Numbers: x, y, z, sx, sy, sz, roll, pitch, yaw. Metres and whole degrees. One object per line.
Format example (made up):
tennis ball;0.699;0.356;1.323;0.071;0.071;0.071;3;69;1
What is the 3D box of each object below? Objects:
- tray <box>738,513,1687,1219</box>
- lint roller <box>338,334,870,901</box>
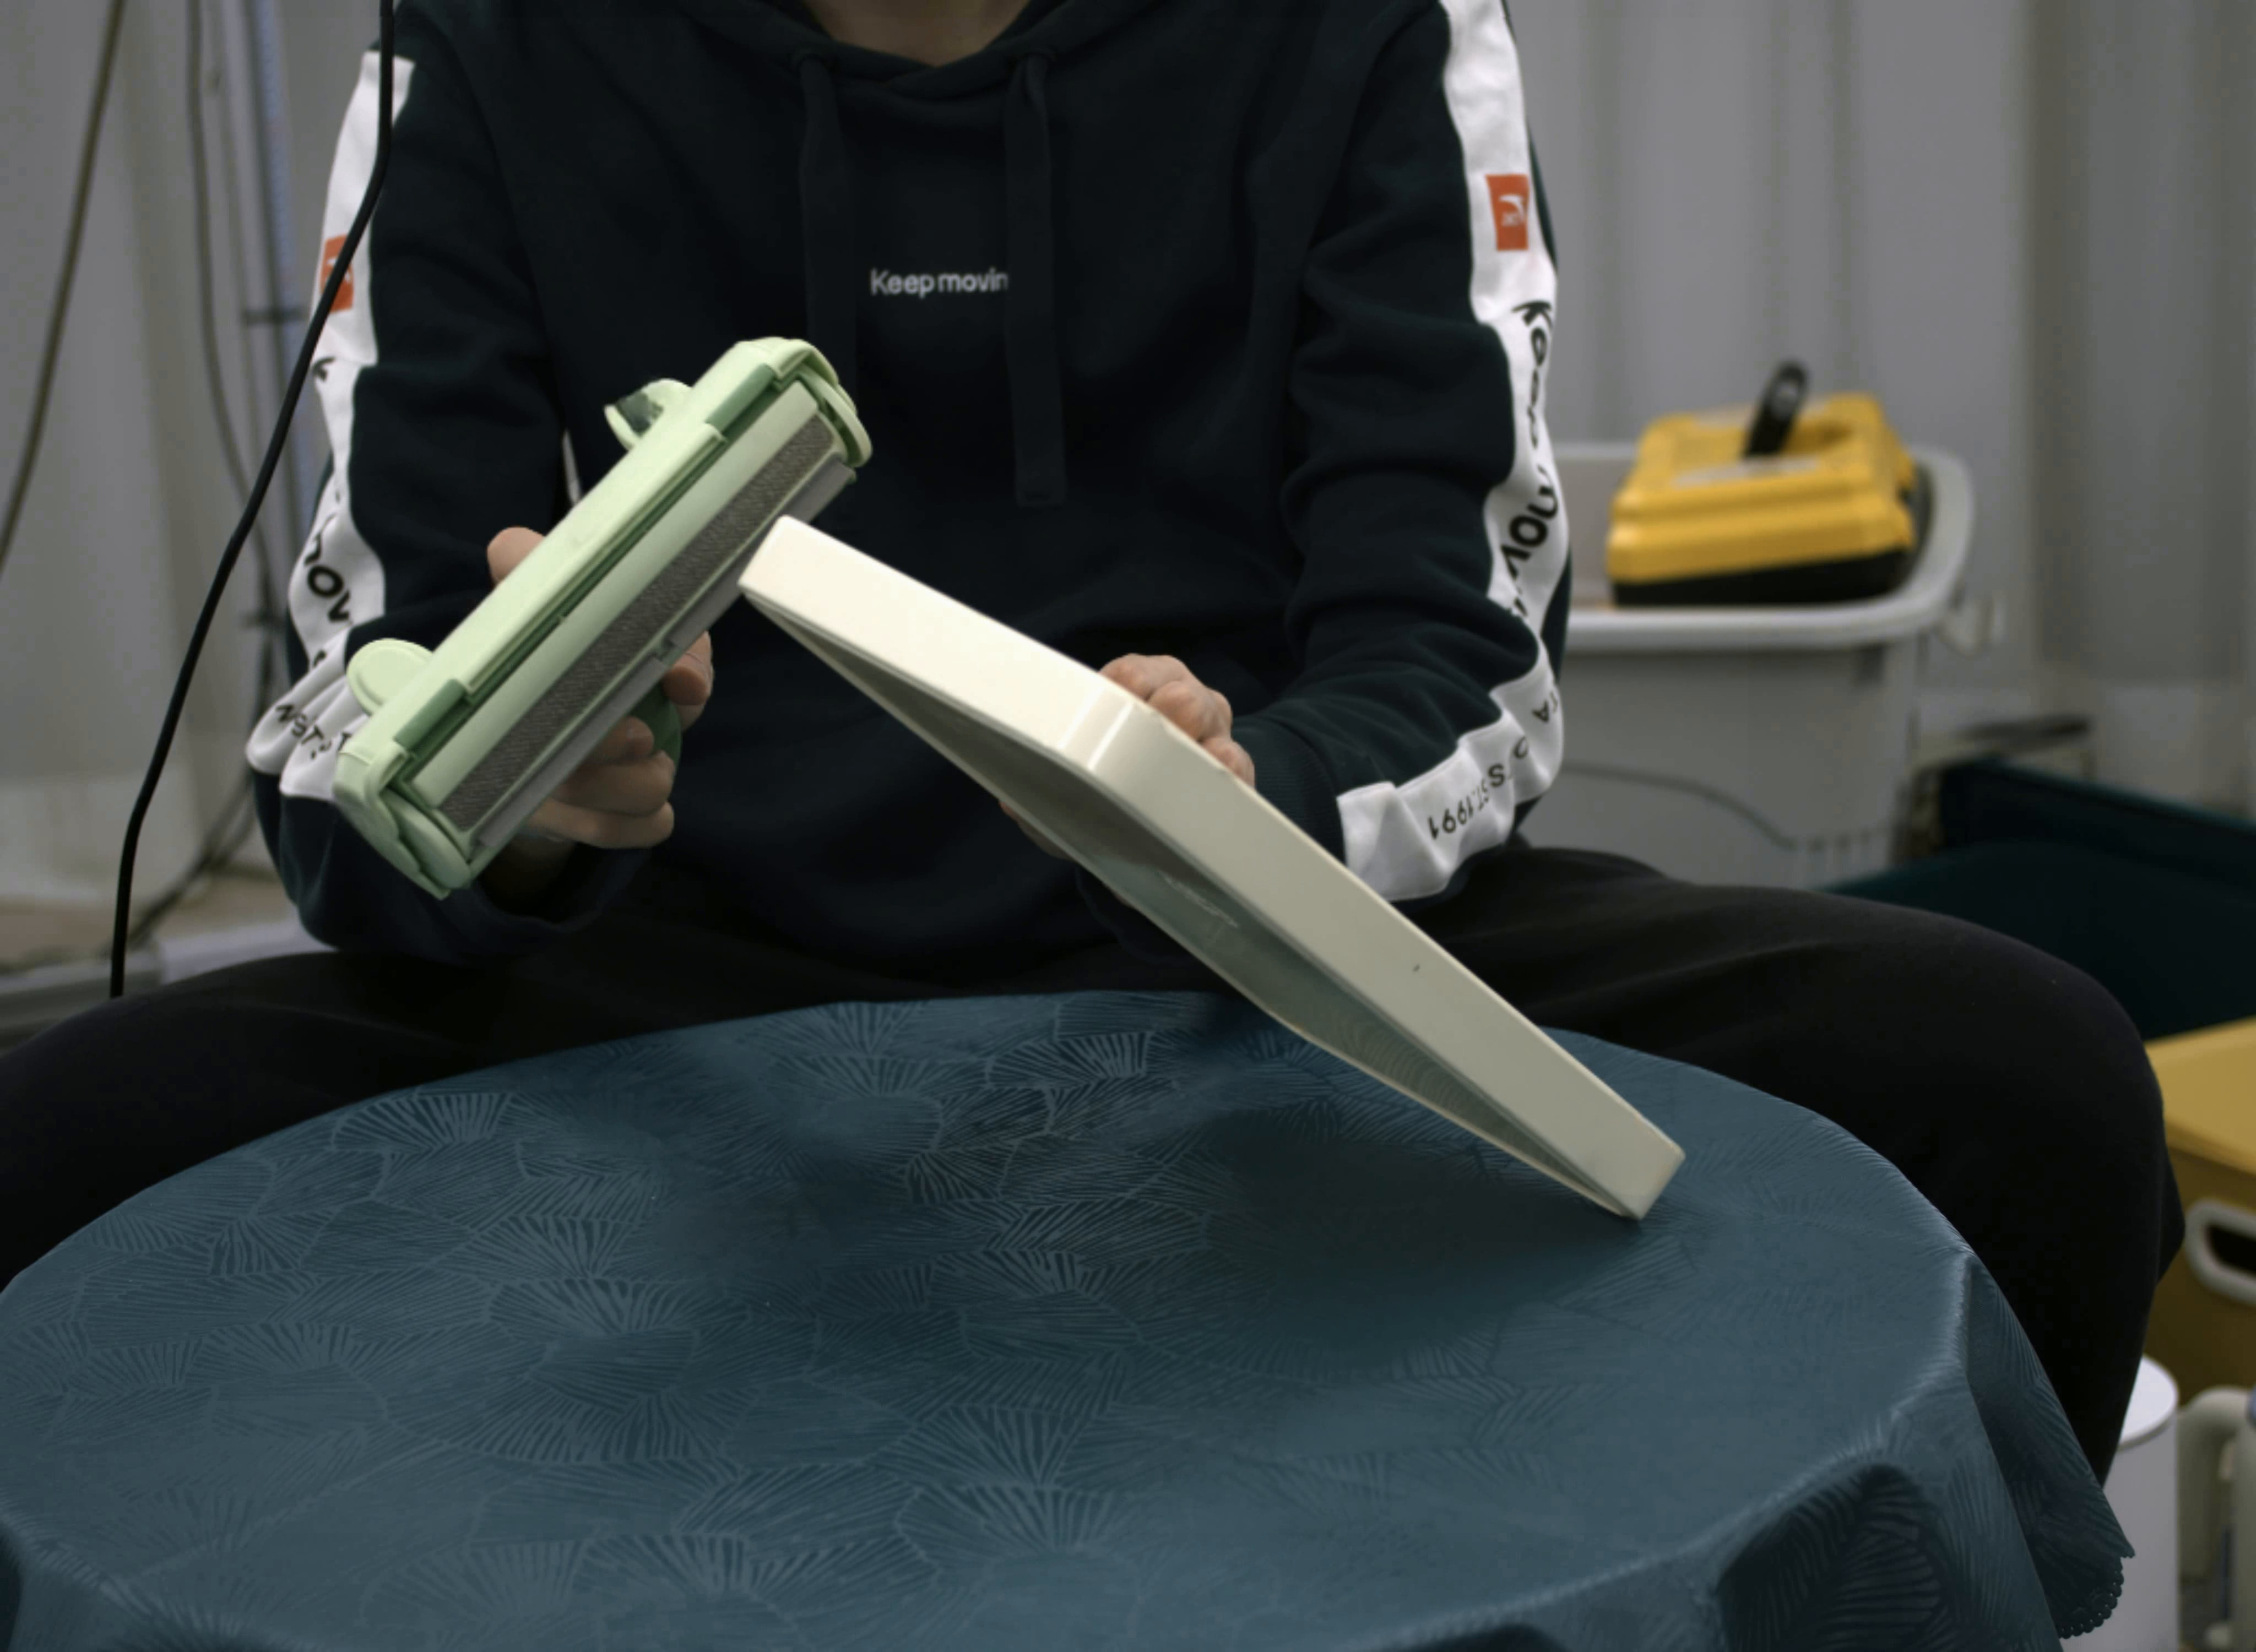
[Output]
tray;0.027;0.015;1.630;0.296;0.027;0.193;40;-8;-40
lint roller;-0.171;-0.056;1.699;0.199;0.082;0.182;-48;-2;-17
